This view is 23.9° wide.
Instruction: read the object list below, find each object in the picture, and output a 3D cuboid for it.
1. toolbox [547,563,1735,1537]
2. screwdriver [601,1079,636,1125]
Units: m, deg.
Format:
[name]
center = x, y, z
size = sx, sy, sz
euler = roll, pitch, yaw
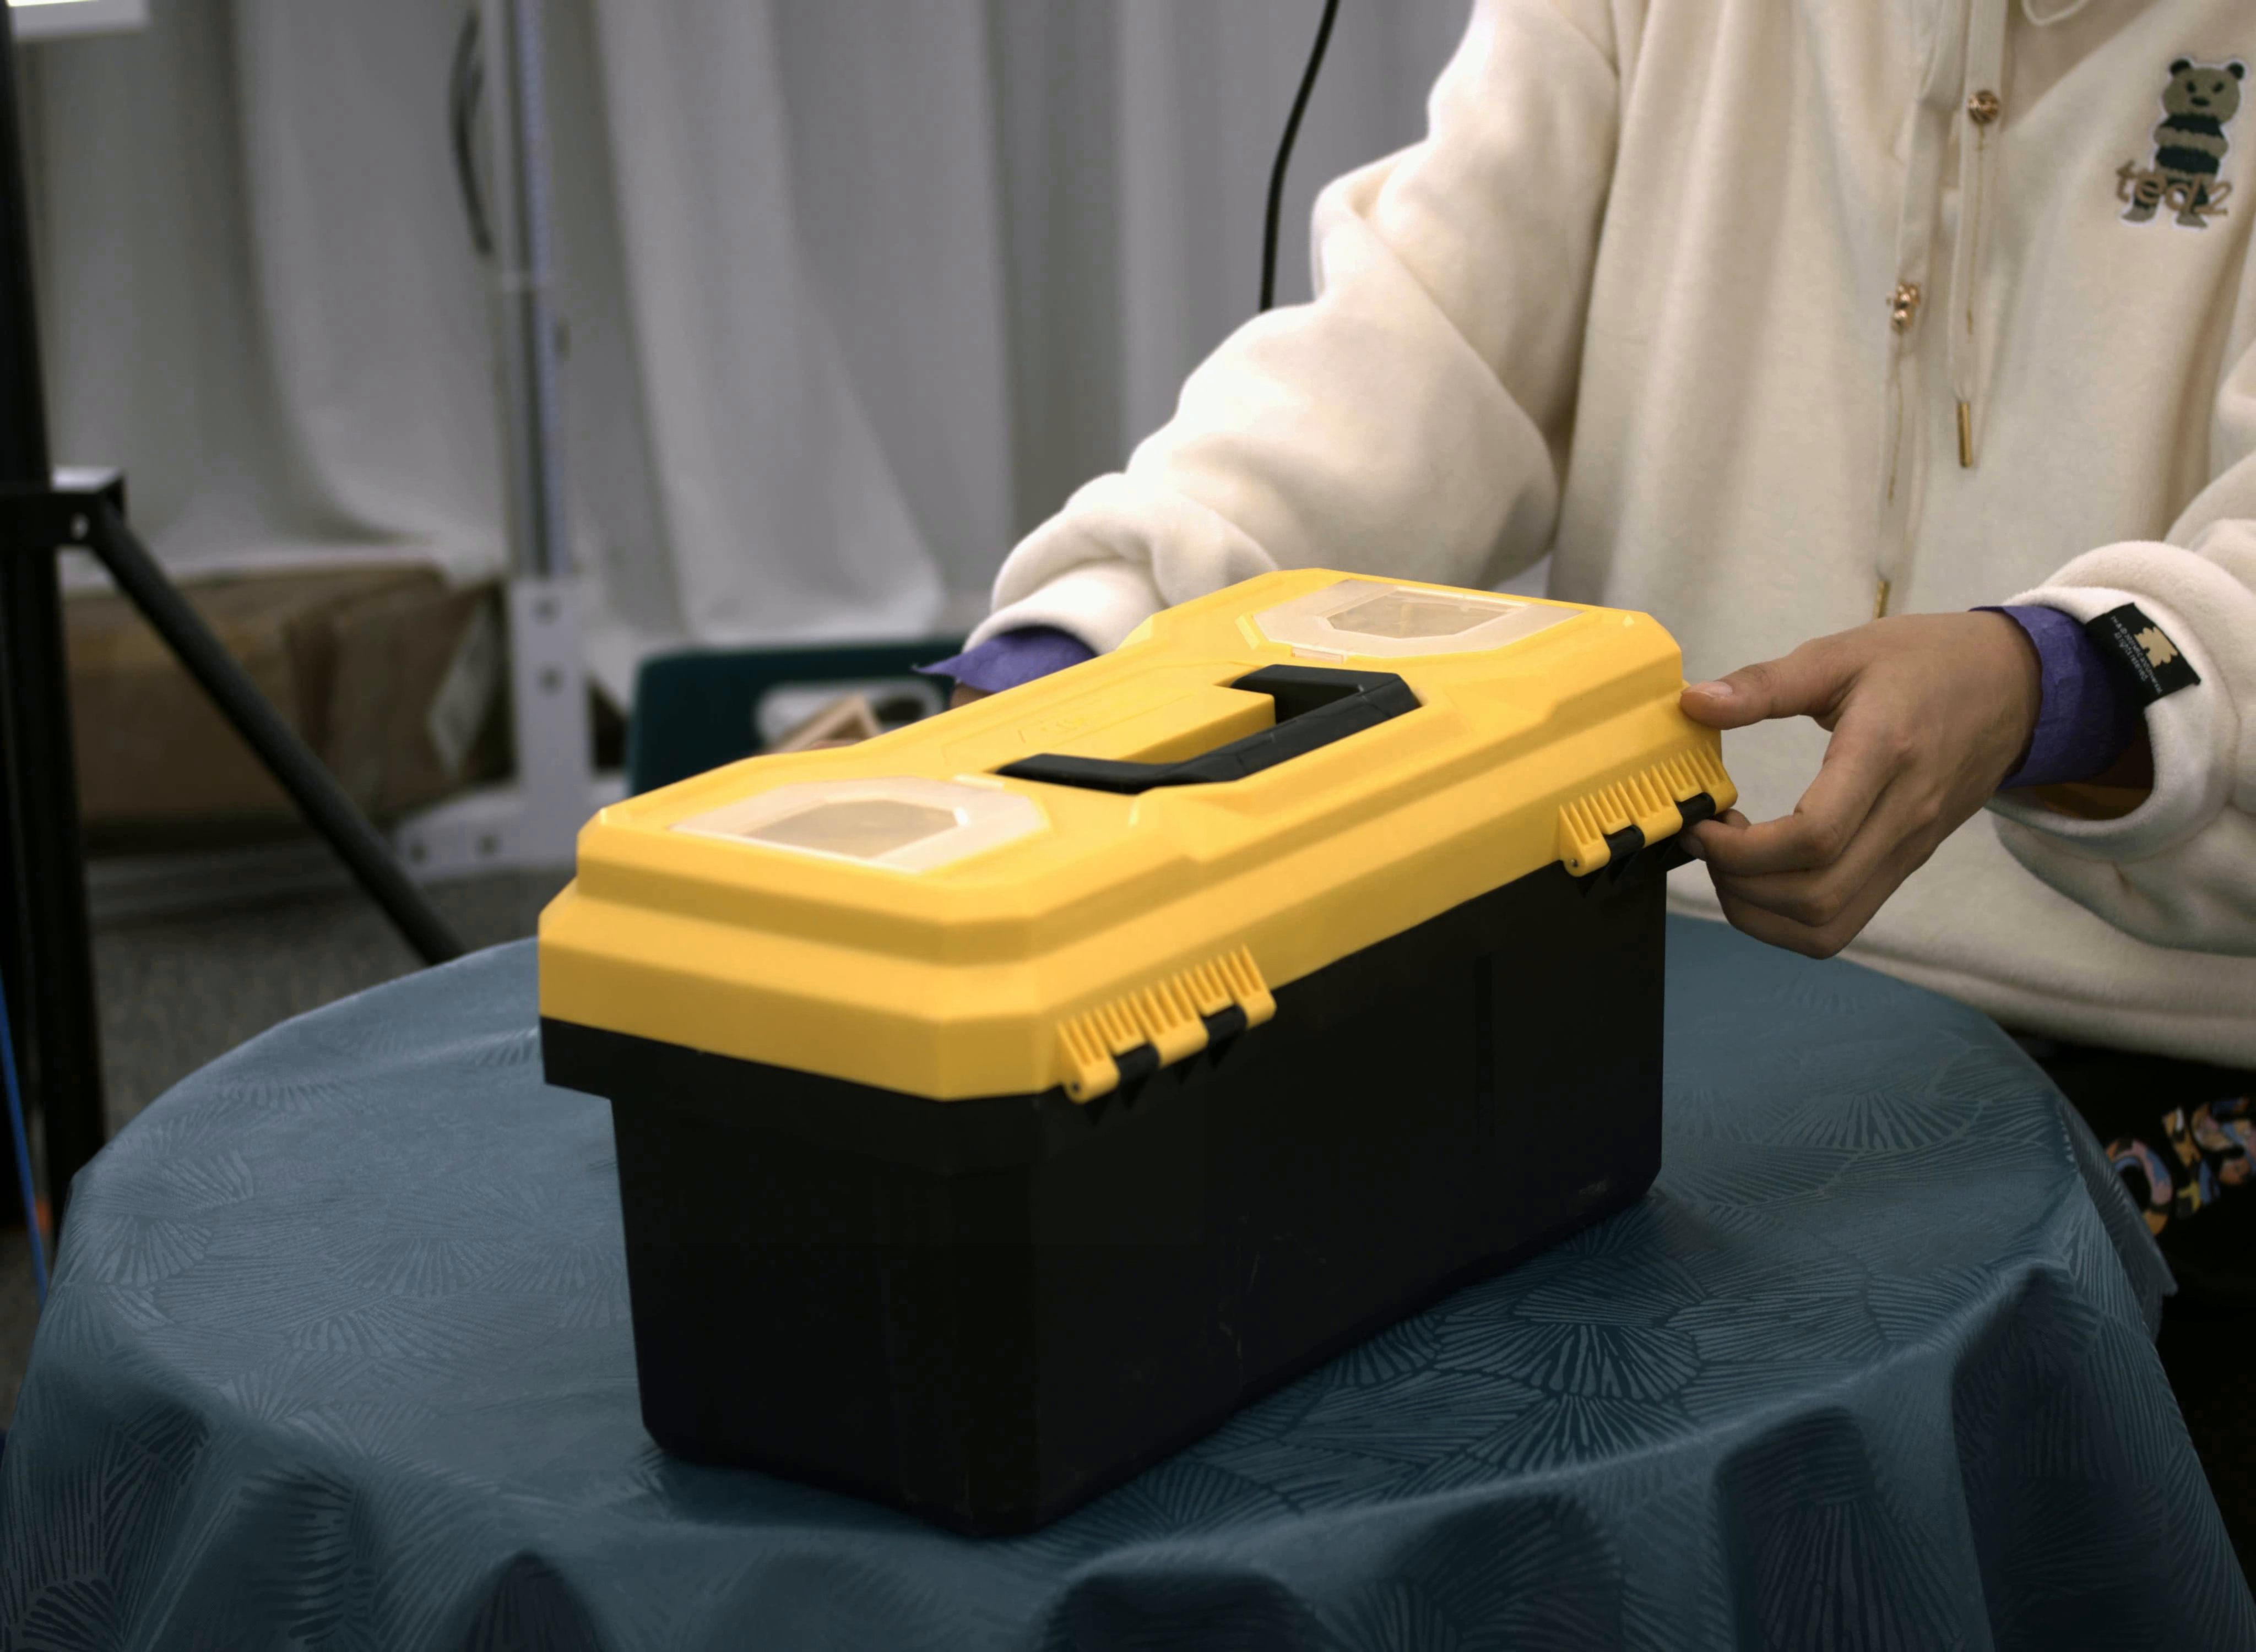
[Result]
[toolbox]
center = 0.011, 0.051, 1.439
size = 0.185, 0.173, 0.344
euler = 10, 20, 38
[screwdriver]
center = -0.120, 0.056, 1.687
size = 0.034, 0.033, 0.187
euler = 5, 23, 24
